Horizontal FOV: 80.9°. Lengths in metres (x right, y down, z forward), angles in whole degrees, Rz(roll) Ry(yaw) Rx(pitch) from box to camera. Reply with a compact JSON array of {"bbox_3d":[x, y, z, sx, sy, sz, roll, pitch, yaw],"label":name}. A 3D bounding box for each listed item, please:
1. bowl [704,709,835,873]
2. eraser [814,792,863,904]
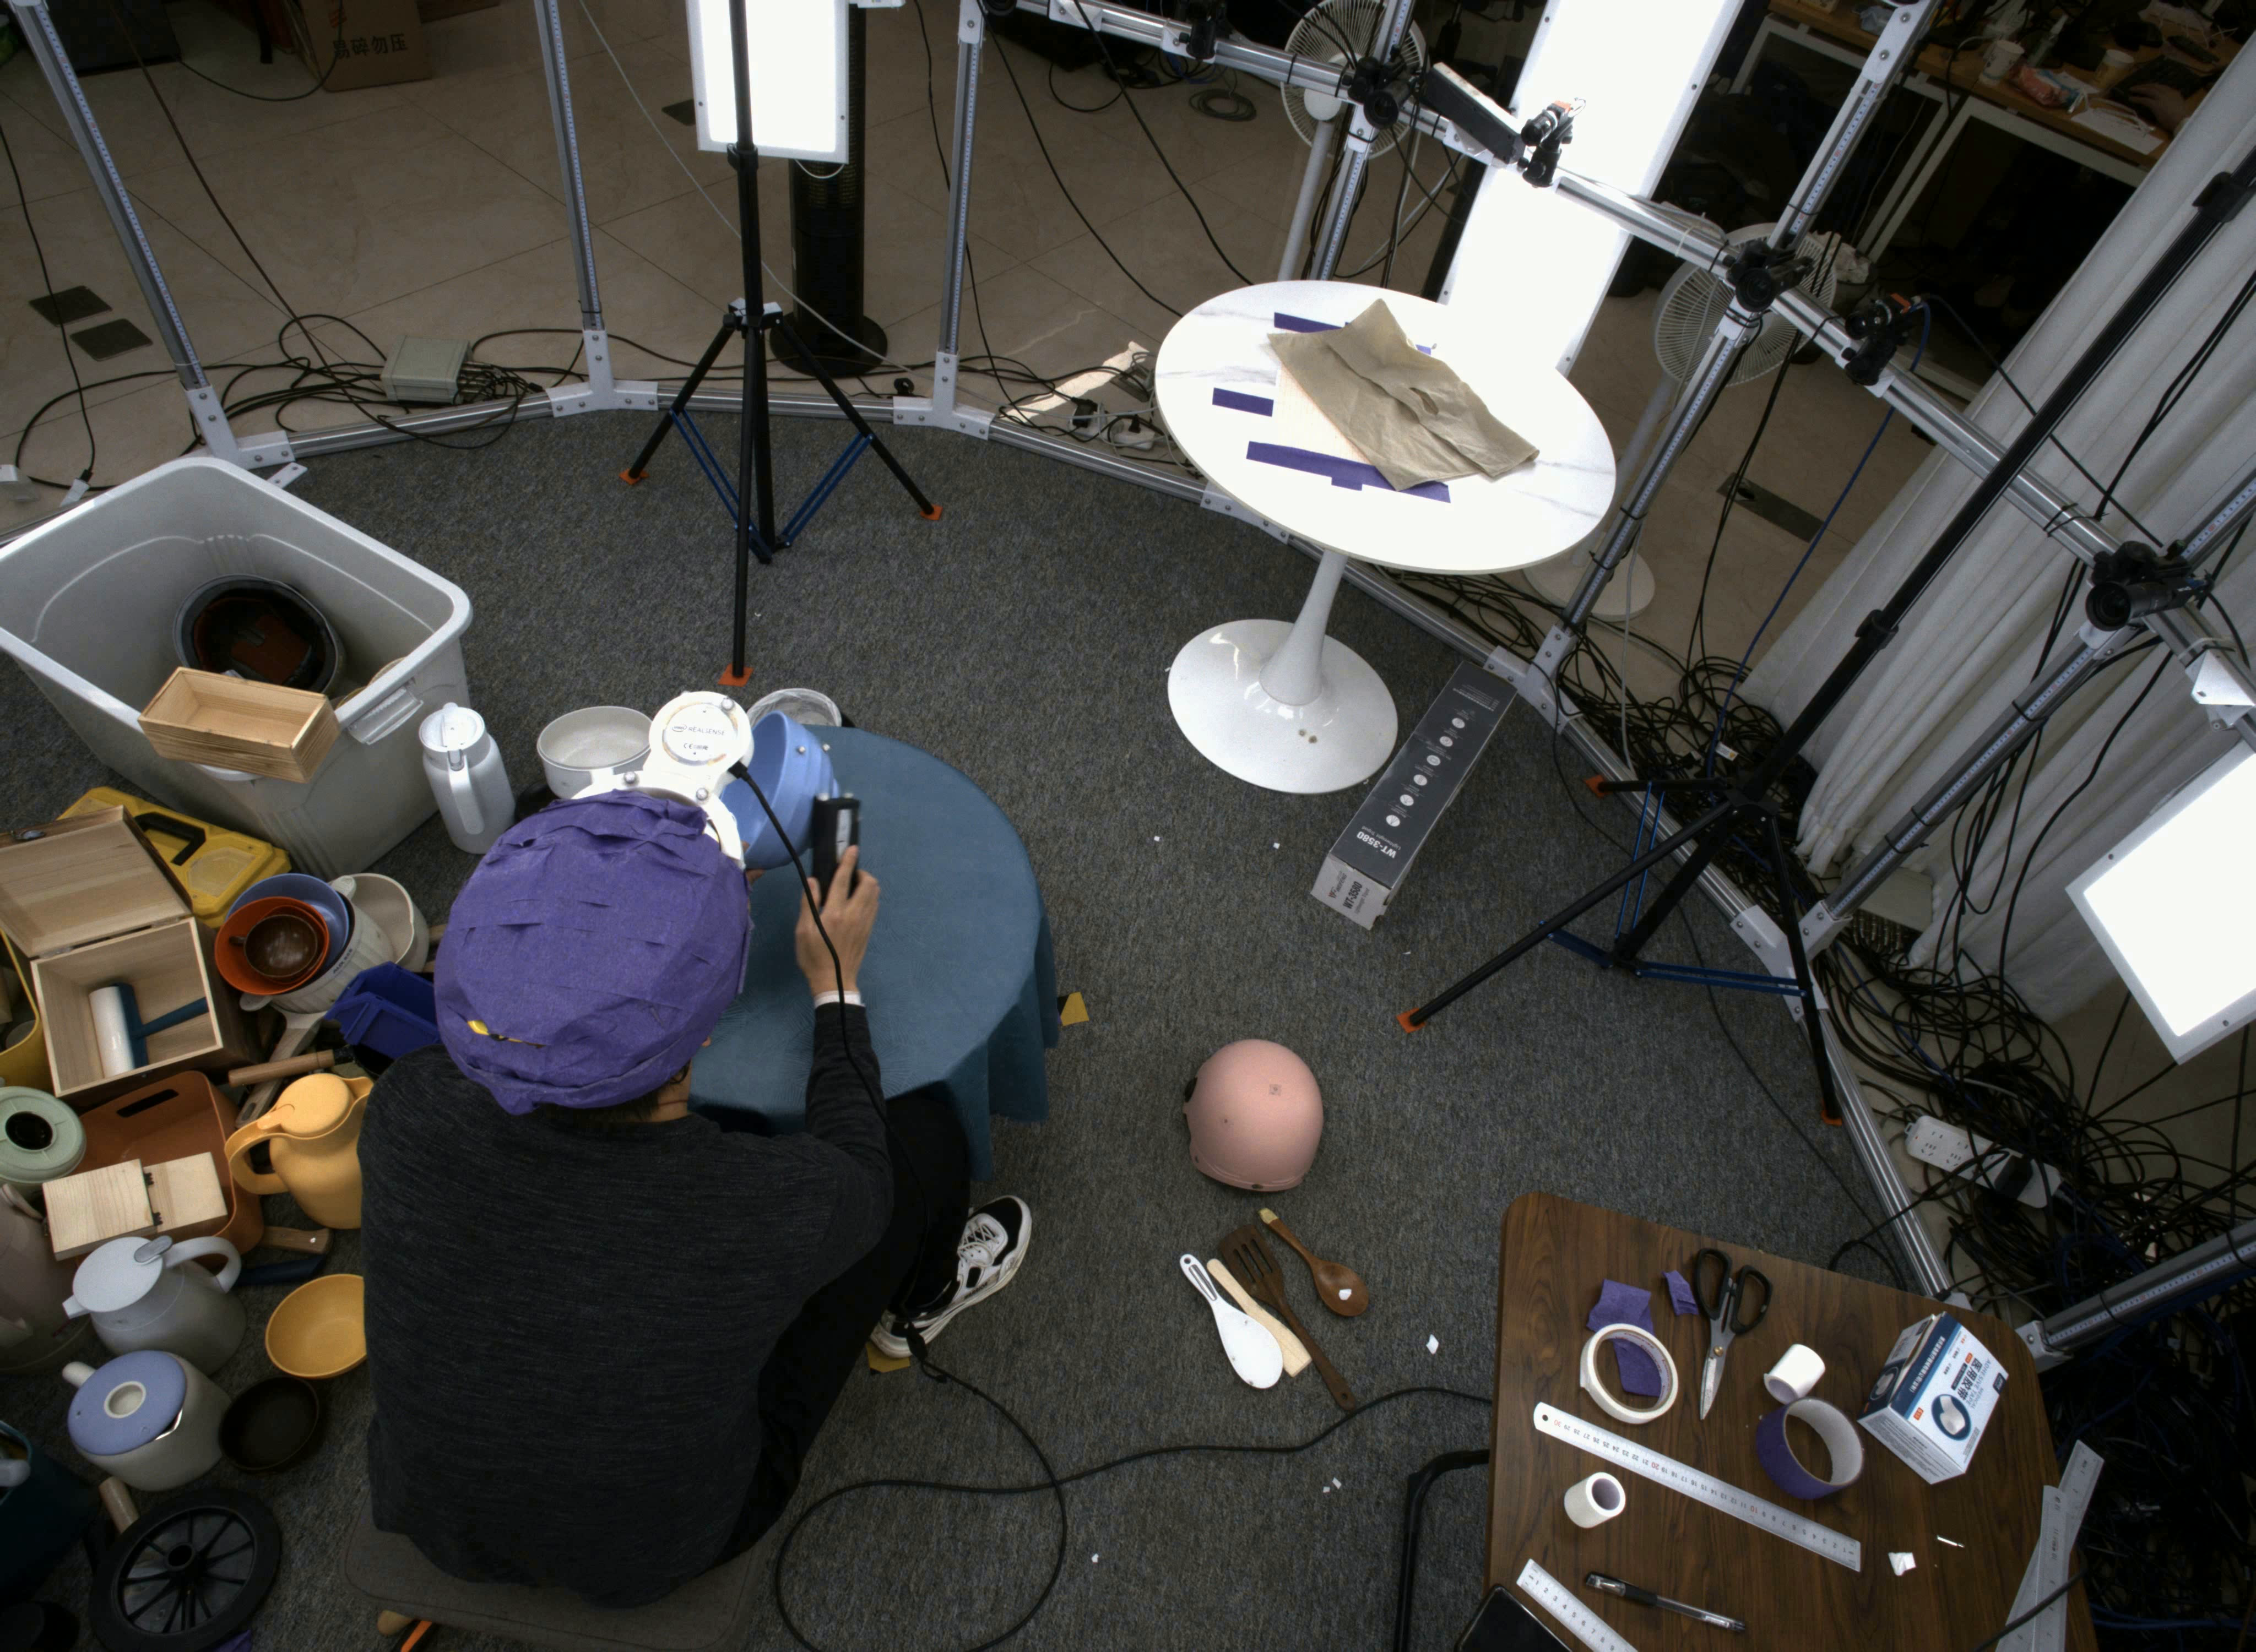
[{"bbox_3d":[-0.415,-0.029,1.543,0.098,0.195,0.192,23,41,-40],"label":"bowl"},{"bbox_3d":[-0.335,0.023,1.497,0.029,0.128,0.054,11,13,40],"label":"eraser"}]
